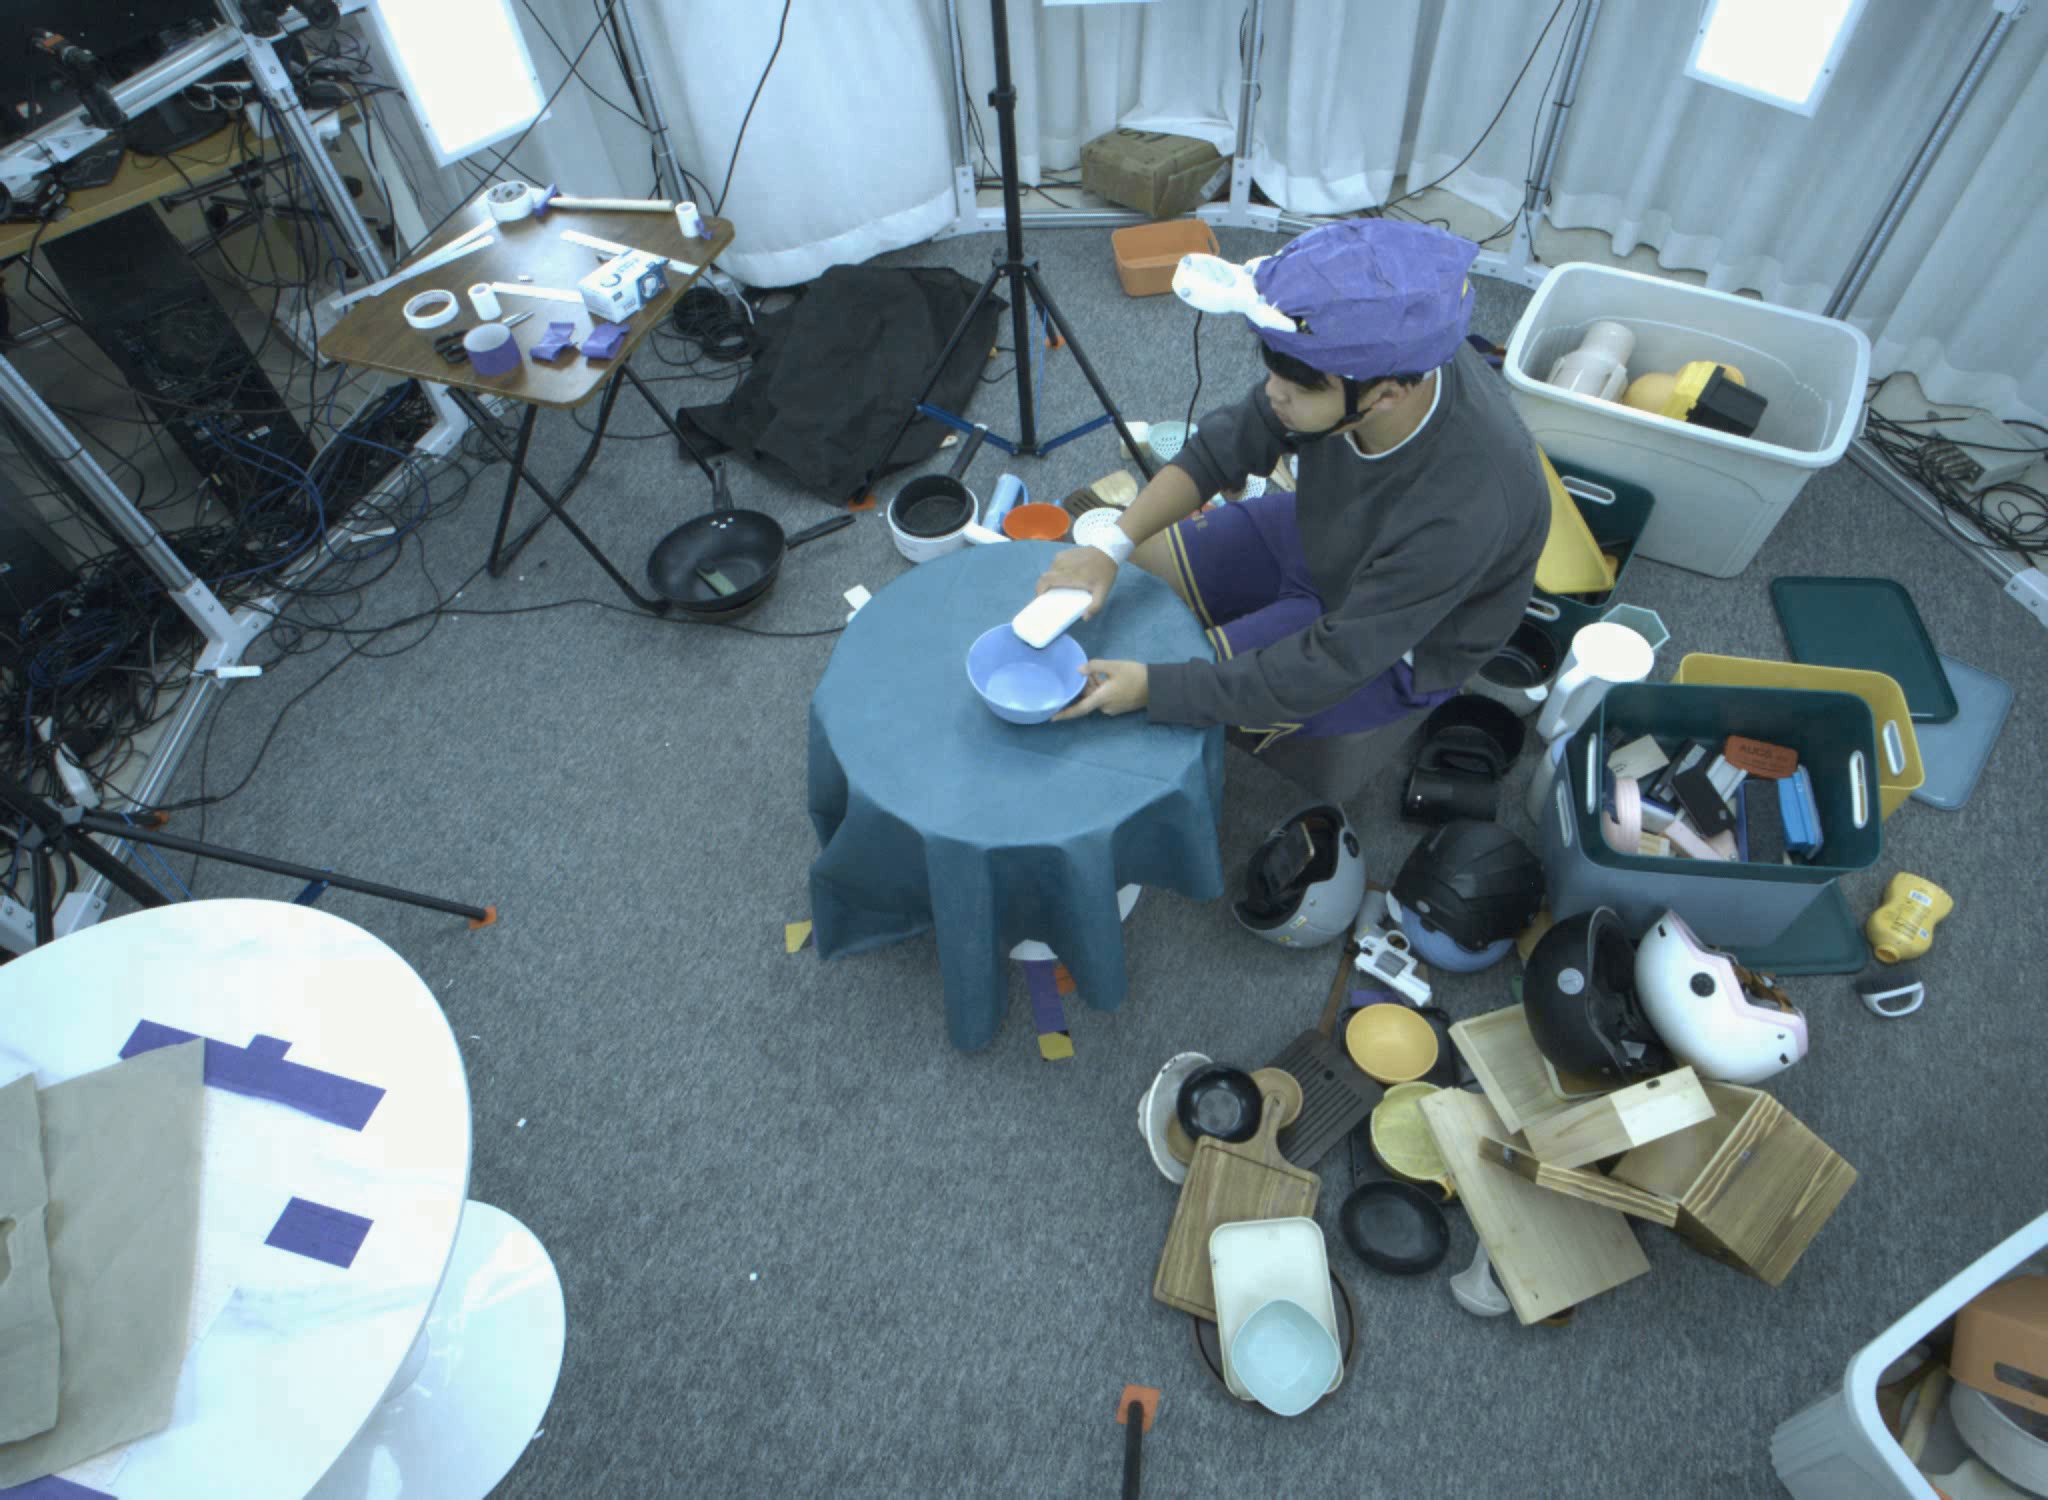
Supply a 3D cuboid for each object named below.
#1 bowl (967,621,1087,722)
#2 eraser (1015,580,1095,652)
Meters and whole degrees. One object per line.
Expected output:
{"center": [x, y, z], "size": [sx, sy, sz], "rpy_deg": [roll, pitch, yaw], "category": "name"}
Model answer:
{"center": [0.003, -0.105, 1.813], "size": [0.176, 0.071, 0.174], "rpy_deg": [4, 53, -3], "category": "bowl"}
{"center": [0.047, -0.201, 1.831], "size": [0.062, 0.035, 0.132], "rpy_deg": [38, 62, 19], "category": "eraser"}
